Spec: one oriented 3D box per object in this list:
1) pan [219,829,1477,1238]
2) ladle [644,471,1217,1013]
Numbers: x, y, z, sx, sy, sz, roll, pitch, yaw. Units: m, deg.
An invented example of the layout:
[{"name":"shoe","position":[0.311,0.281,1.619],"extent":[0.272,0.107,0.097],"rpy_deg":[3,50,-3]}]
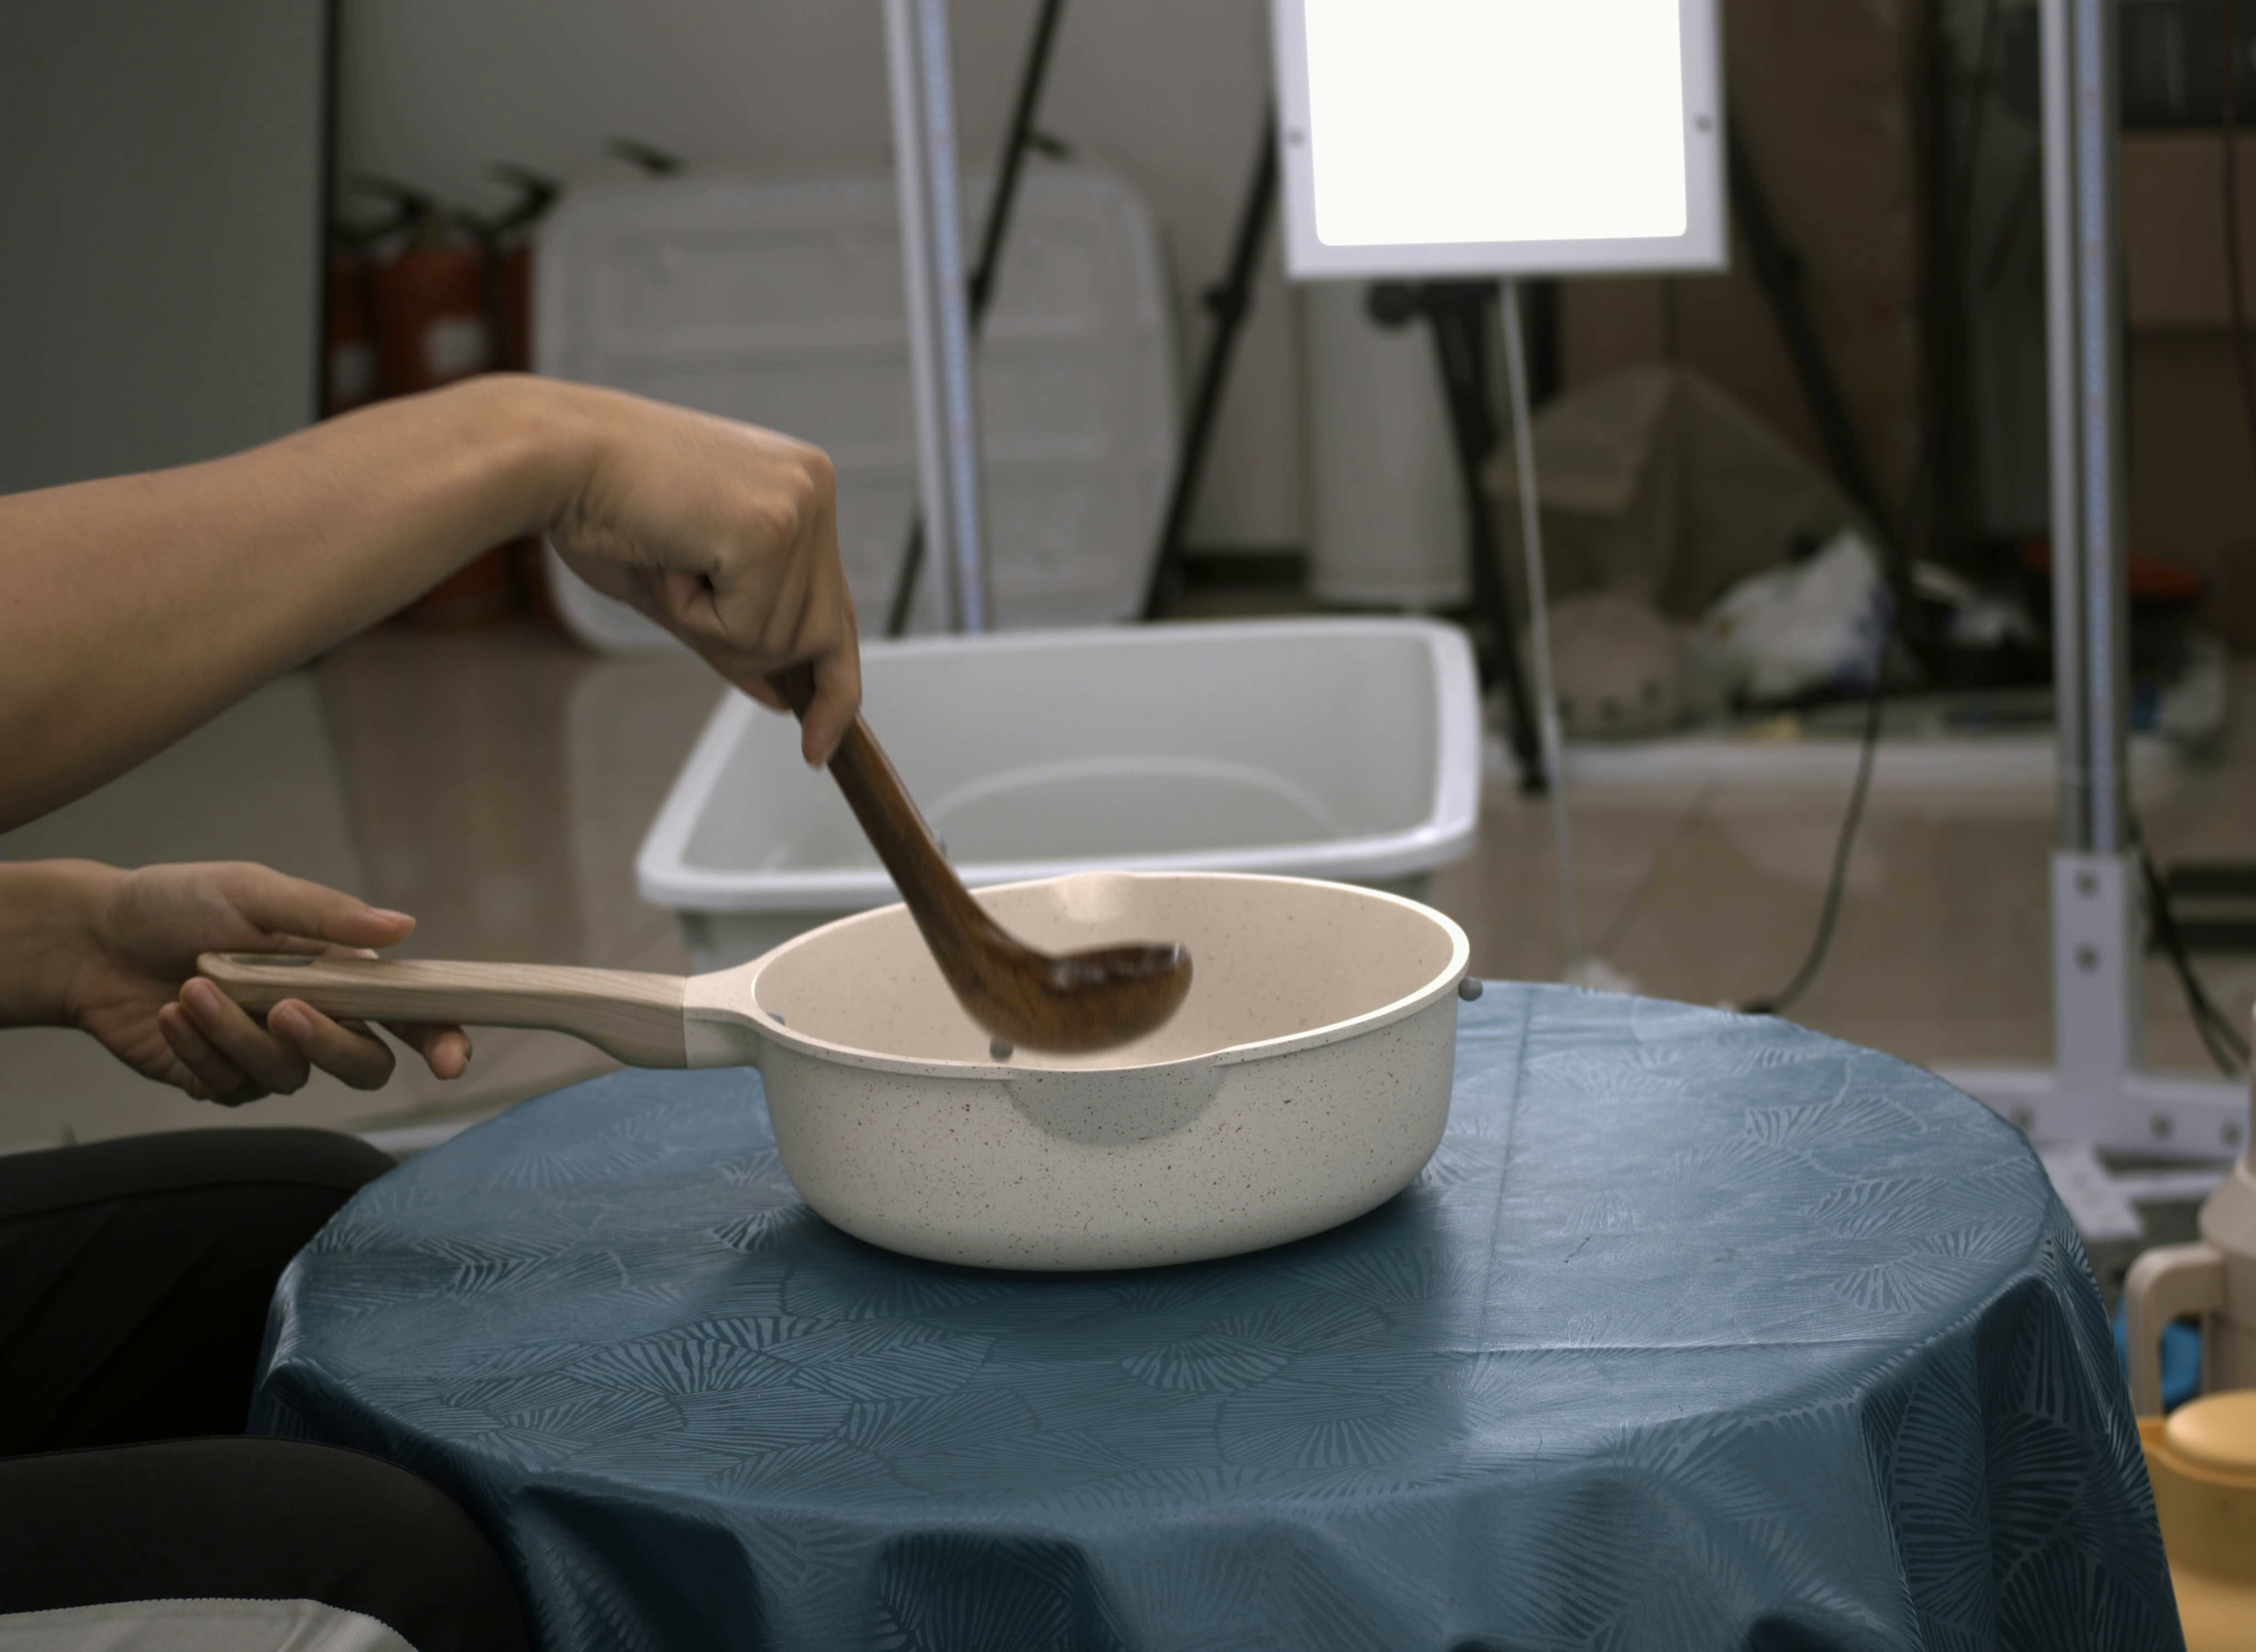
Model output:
[{"name":"pan","position":[-0.093,0.074,1.913],"extent":[0.434,0.102,0.263],"rpy_deg":[-5,15,1]},{"name":"ladle","position":[-0.062,-0.035,1.791],"extent":[0.083,0.272,0.075],"rpy_deg":[-10,39,36]}]
